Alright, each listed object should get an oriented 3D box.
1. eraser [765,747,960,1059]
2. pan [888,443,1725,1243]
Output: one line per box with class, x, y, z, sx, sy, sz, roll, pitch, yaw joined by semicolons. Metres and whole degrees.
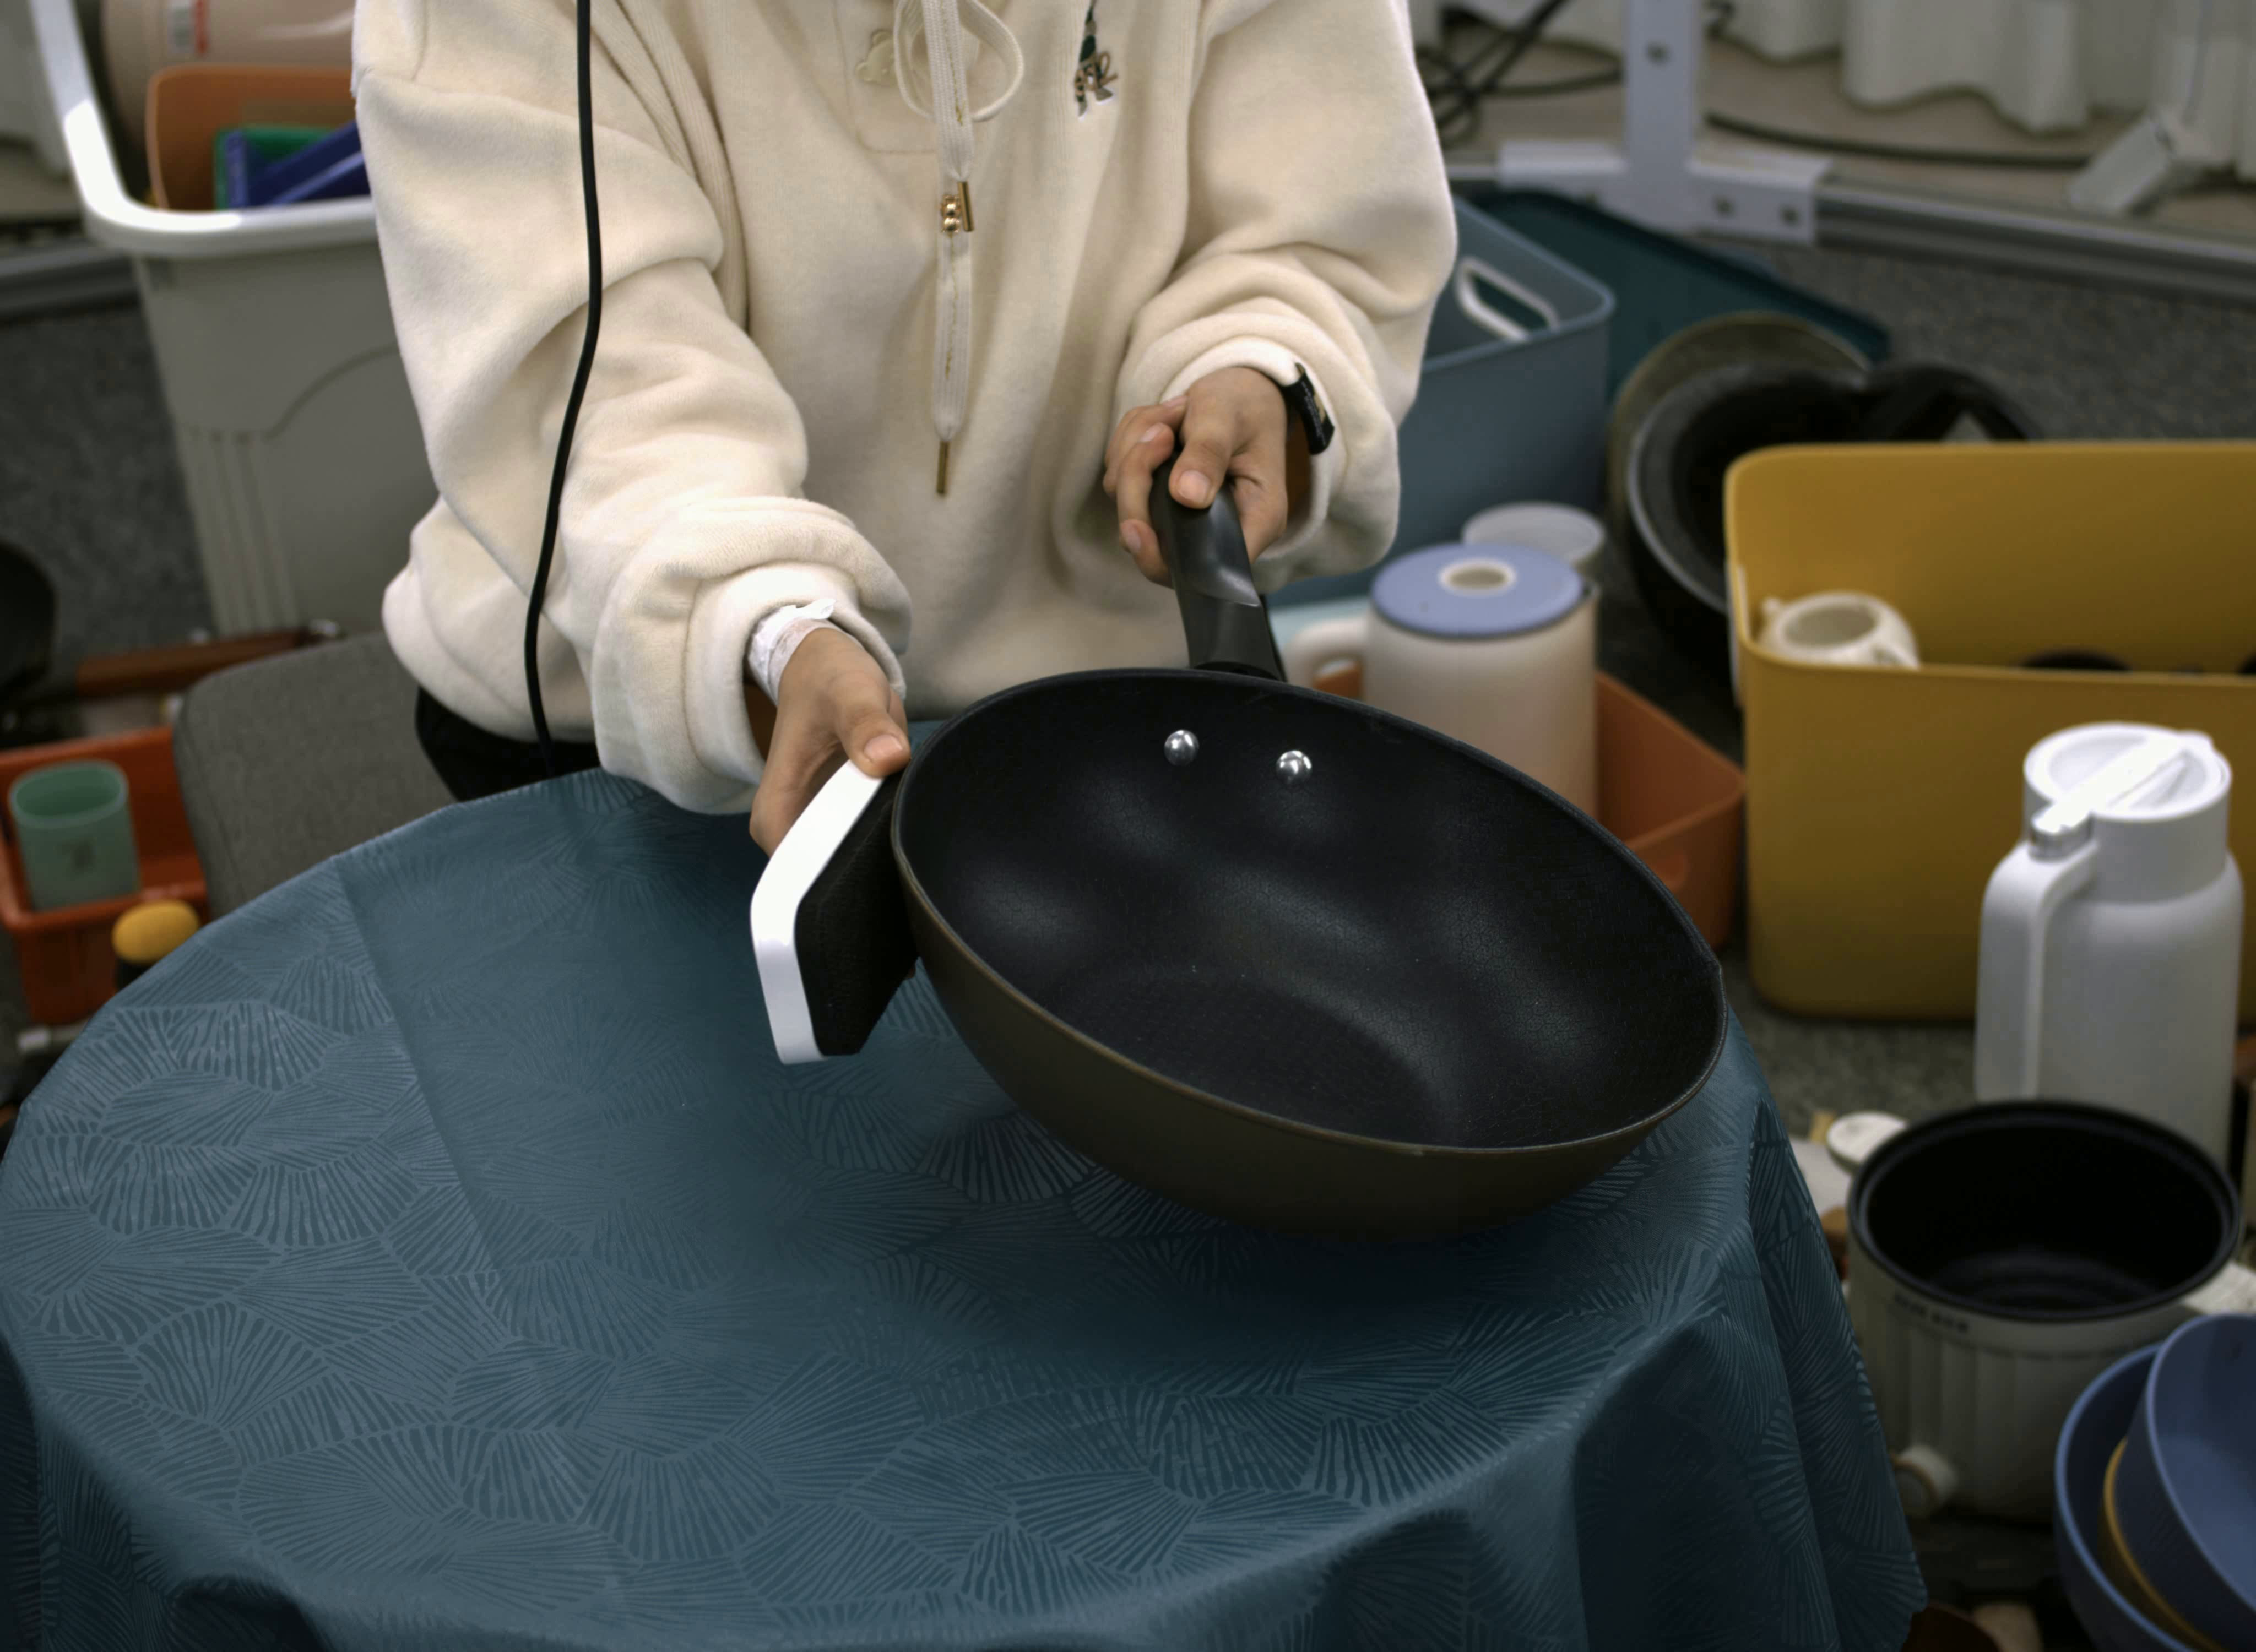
eraser;-0.089;0.023;1.833;0.034;0.063;0.133;0;25;16
pan;0.039;0.007;1.929;0.287;0.086;0.470;10;29;-14
